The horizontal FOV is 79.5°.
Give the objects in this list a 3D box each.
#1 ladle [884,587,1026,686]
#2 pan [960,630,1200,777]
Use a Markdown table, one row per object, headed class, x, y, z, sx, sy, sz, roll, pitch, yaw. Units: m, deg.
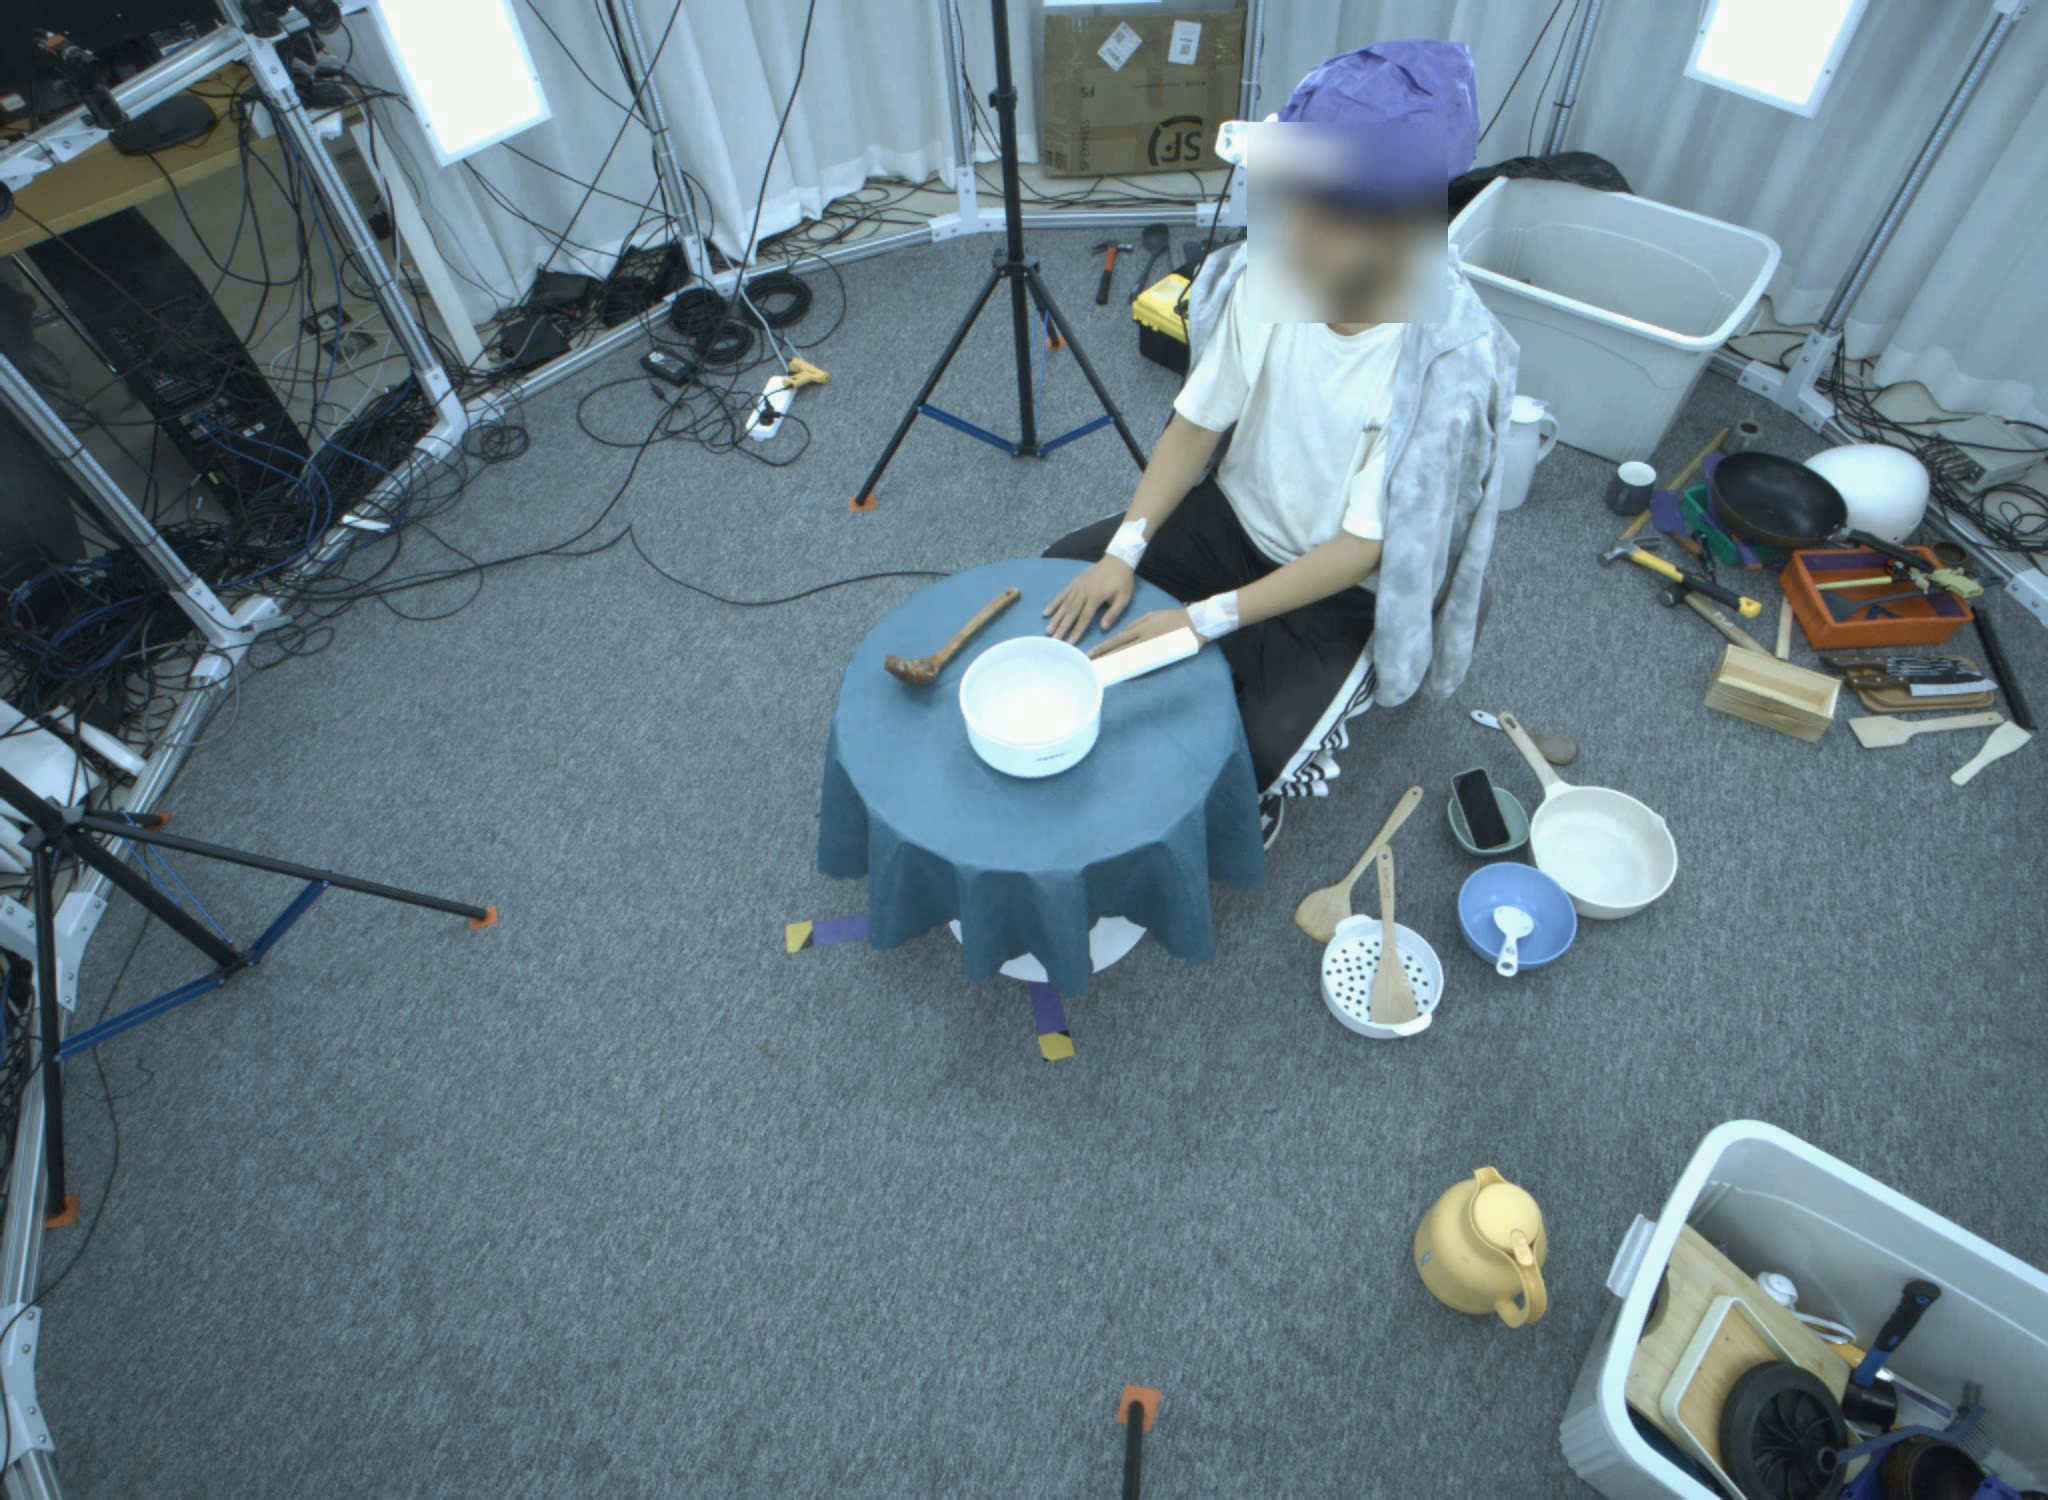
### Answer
| class | x | y | z | sx | sy | sz | roll | pitch | yaw |
| --- | --- | --- | --- | --- | --- | --- | --- | --- | --- |
| ladle | -0.102 | -0.191 | 1.879 | 0.080 | 0.077 | 0.276 | 35 | 64 | 25 |
| pan | 0.084 | -0.082 | 1.784 | 0.357 | 0.103 | 0.197 | -19 | 55 | -12 |
